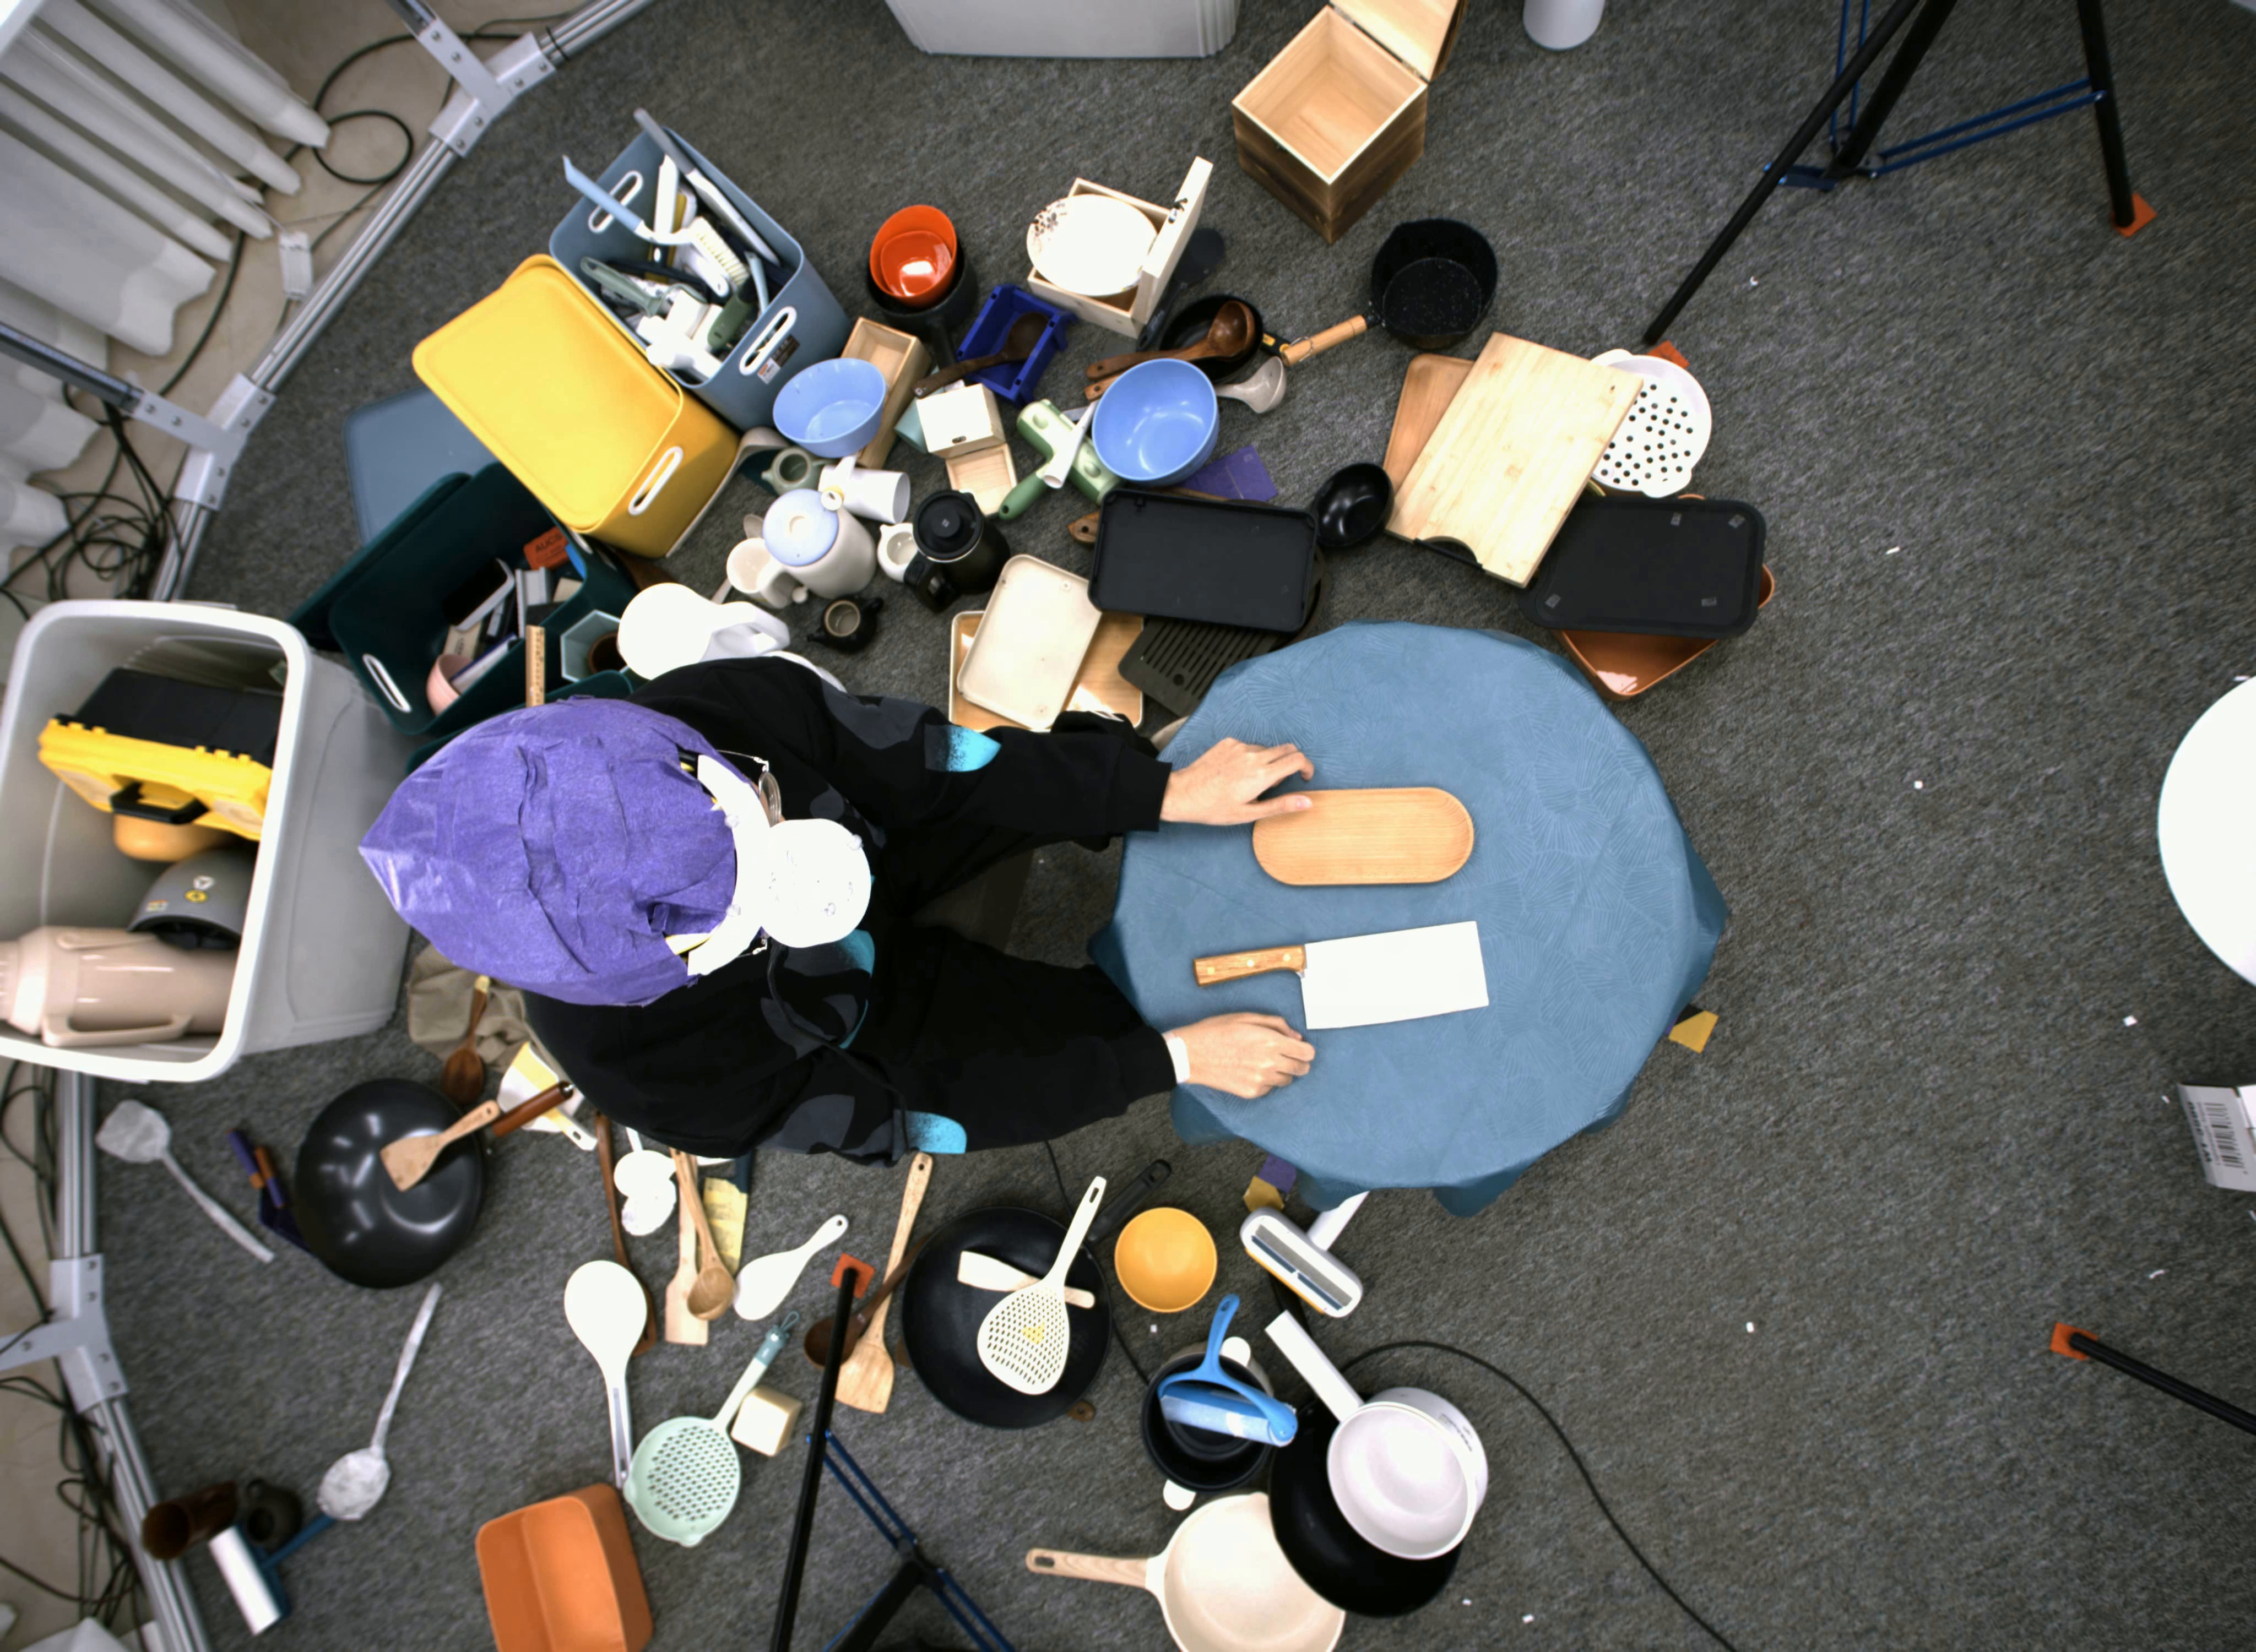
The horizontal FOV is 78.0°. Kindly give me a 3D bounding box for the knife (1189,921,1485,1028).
[{"bbox_3d":[0.219,0.162,1.457,0.307,0.021,0.092,-8,87,8],"label":"knife"}]

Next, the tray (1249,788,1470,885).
[{"bbox_3d":[0.244,0.011,1.460,0.232,0.020,0.101,-1,86,11],"label":"tray"}]
